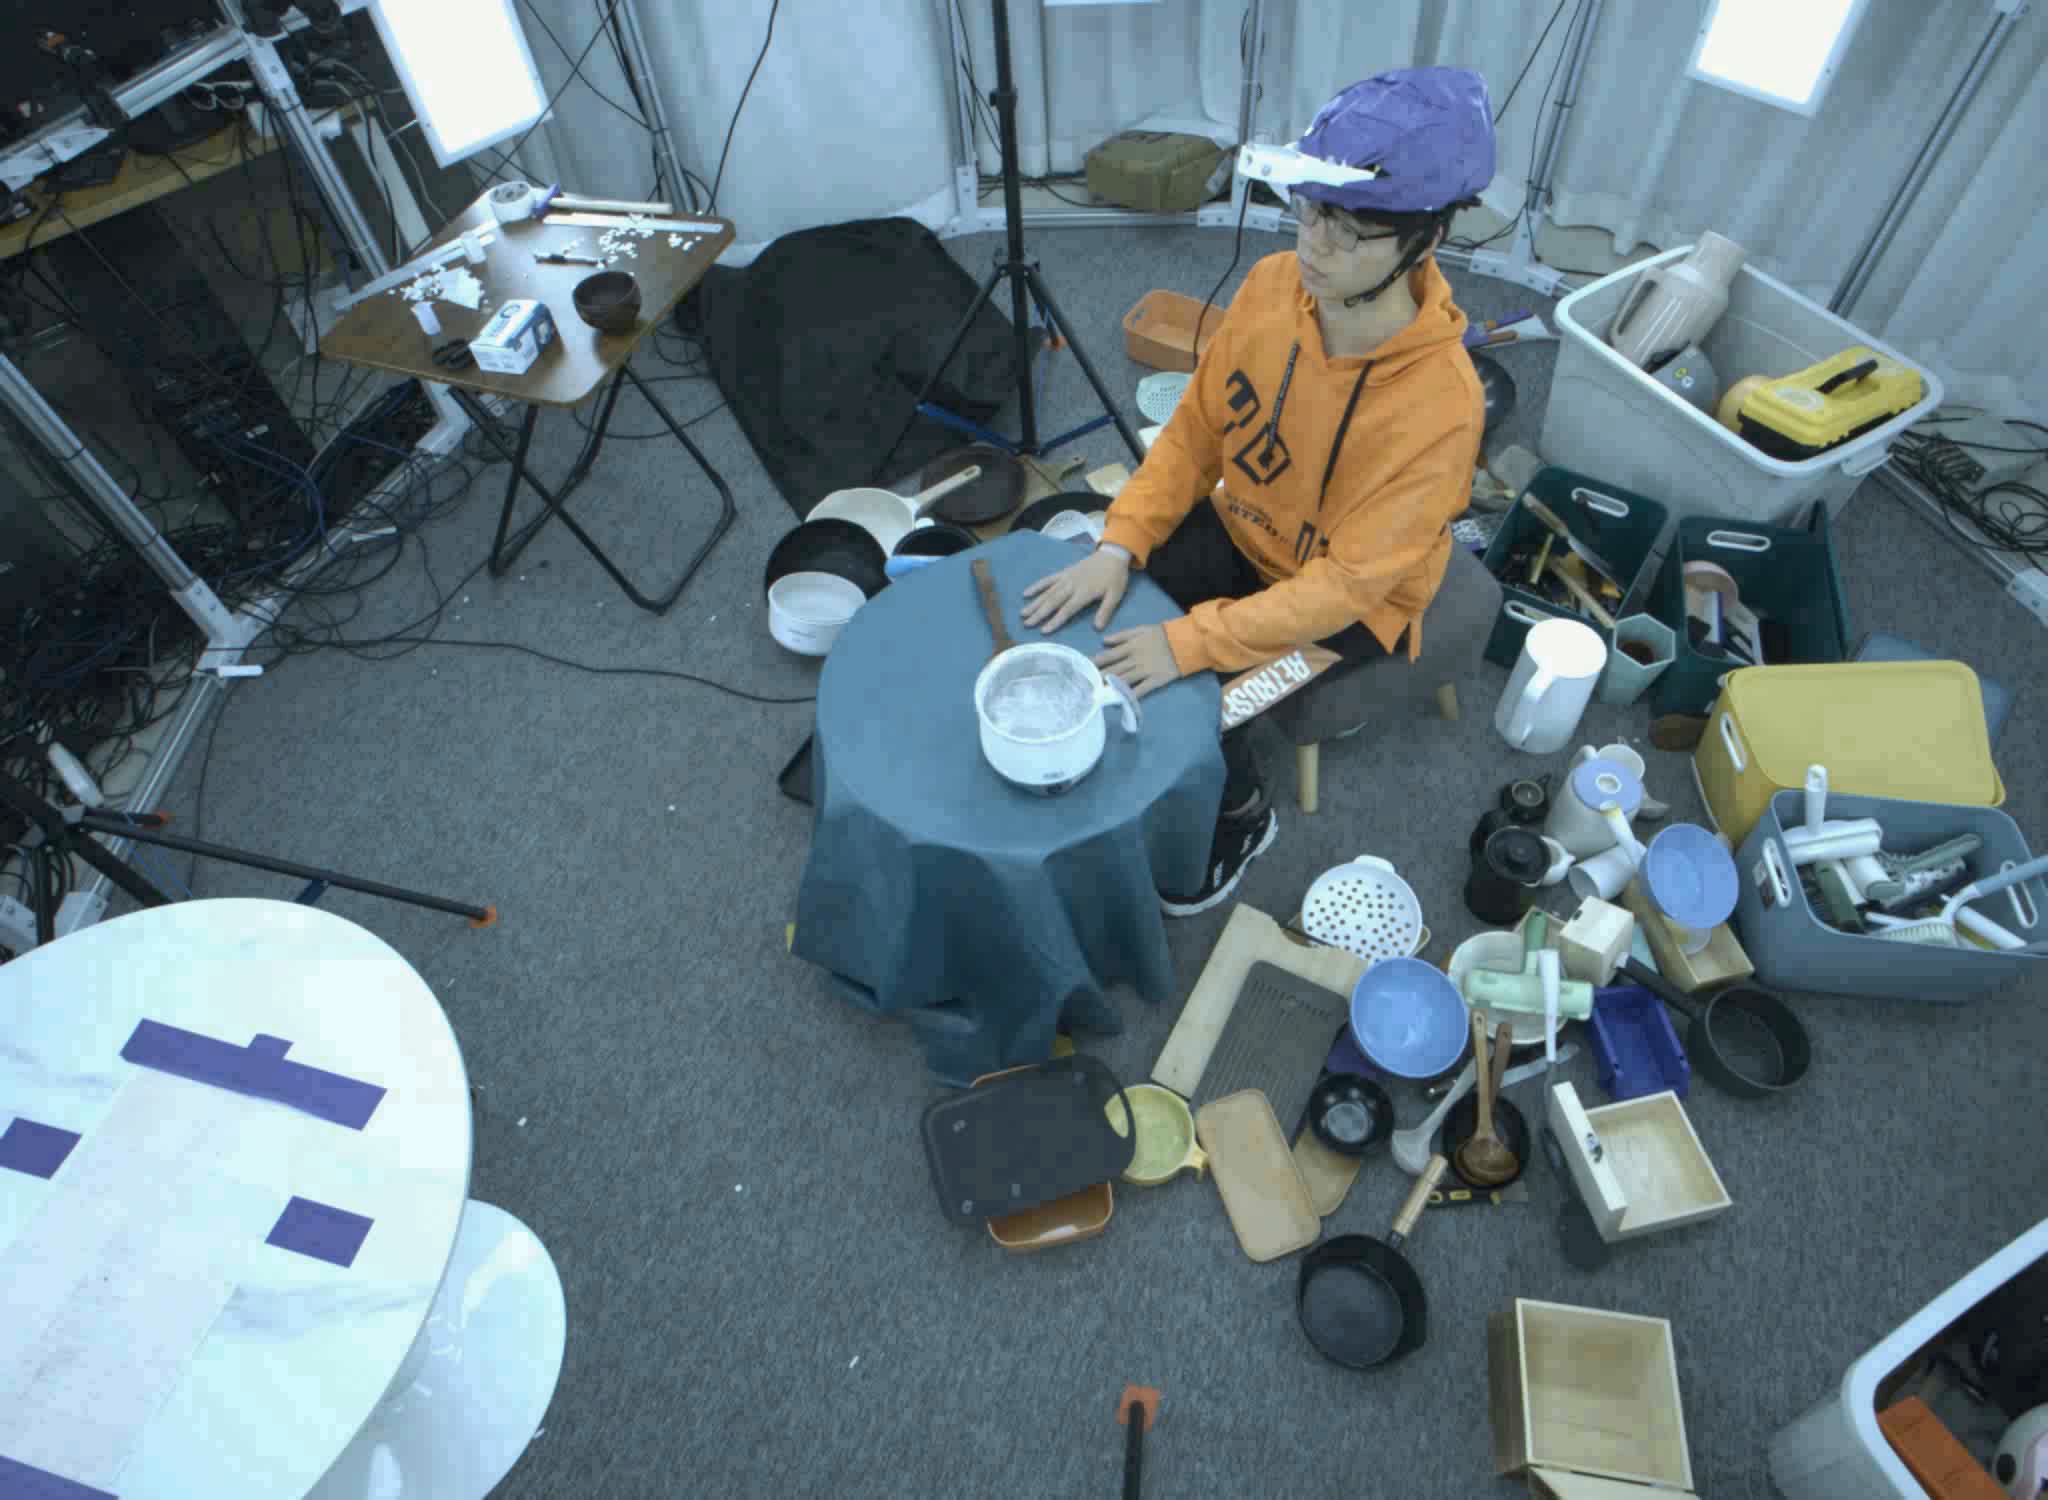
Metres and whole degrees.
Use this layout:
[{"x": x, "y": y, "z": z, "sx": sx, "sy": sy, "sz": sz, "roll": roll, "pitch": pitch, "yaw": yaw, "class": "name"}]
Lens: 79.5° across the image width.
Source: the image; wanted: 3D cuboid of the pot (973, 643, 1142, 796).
[{"x": 0.051, "y": -0.048, "z": 1.735, "sx": 0.234, "sy": 0.138, "sz": 0.176, "roll": -11, "pitch": 55, "yaw": -5, "class": "pot"}]

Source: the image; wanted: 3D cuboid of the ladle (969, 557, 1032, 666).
[{"x": -0.048, "y": -0.228, "z": 1.907, "sx": 0.076, "sy": 0.072, "sz": 0.270, "roll": -11, "pitch": 56, "yaw": -9, "class": "ladle"}]
